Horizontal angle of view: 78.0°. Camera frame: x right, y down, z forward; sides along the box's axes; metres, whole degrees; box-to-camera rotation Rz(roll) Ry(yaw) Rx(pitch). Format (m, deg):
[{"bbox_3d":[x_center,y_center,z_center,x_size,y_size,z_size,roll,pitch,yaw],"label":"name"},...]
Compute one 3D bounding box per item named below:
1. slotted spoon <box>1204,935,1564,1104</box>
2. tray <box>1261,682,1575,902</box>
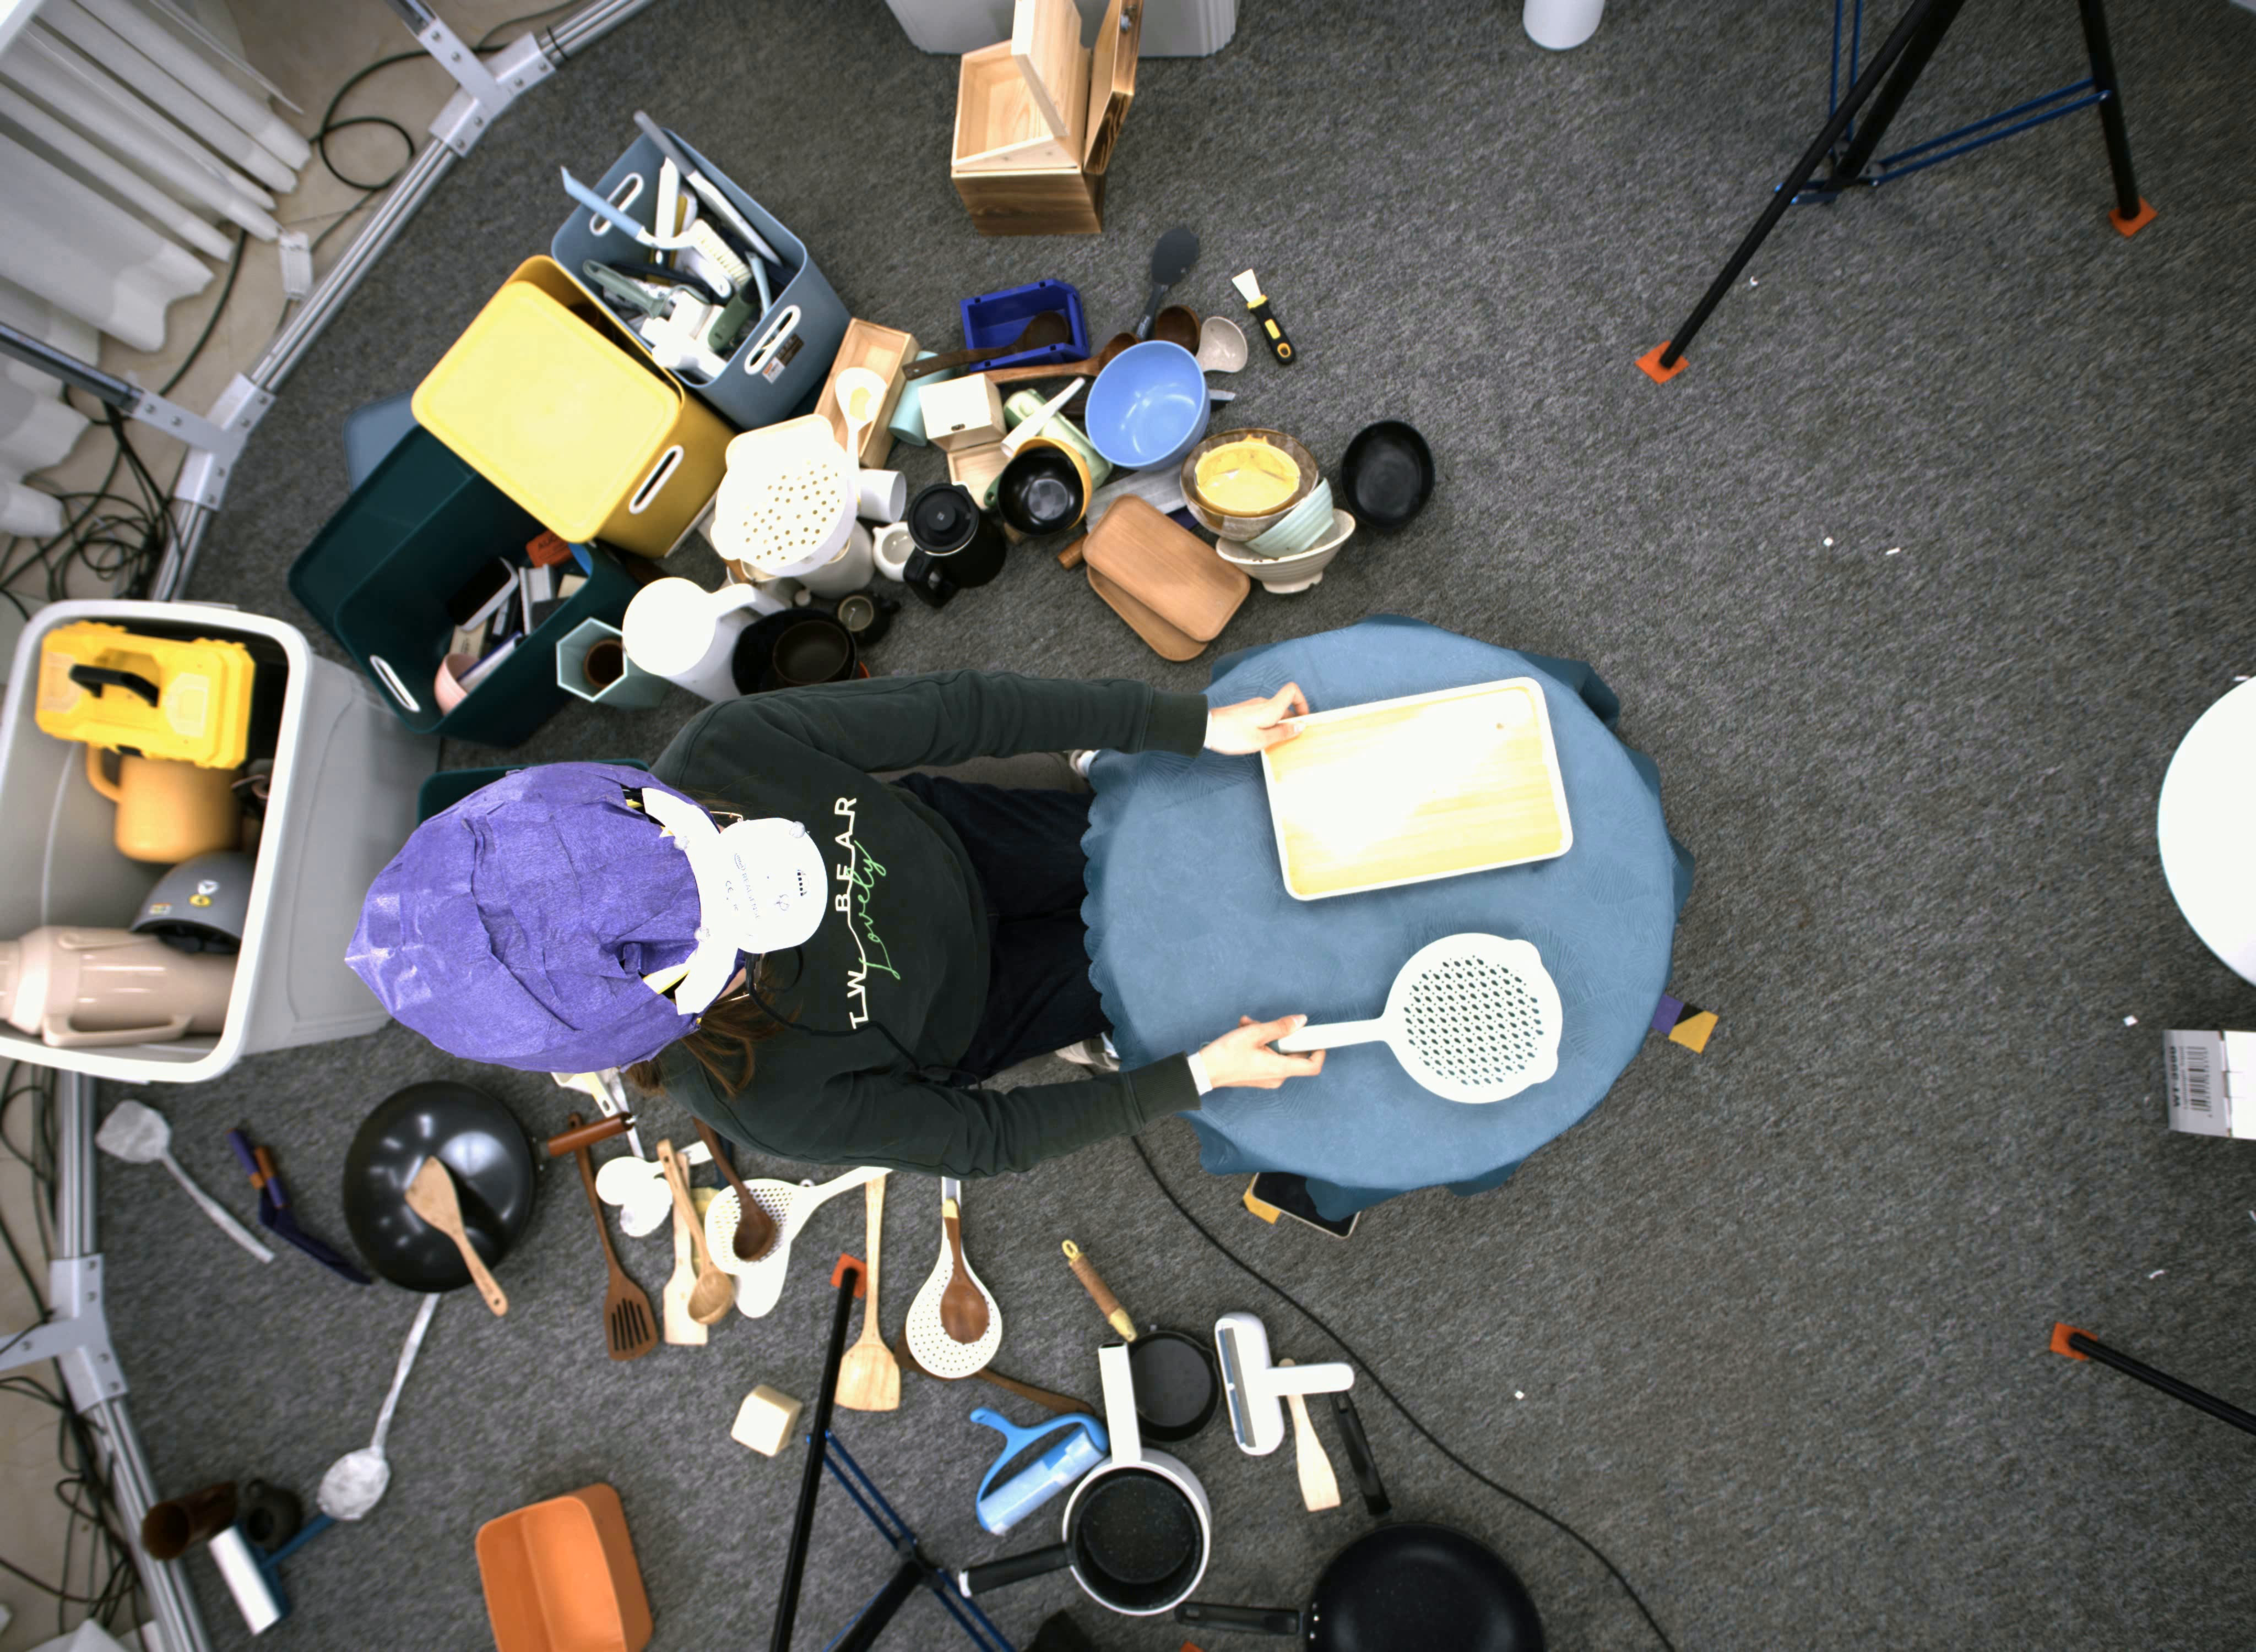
[{"bbox_3d":[0.256,0.208,1.410,0.360,0.076,0.167,-6,76,3],"label":"slotted spoon"},{"bbox_3d":[0.301,-0.037,1.439,0.301,0.027,0.190,-10,84,4],"label":"tray"}]
